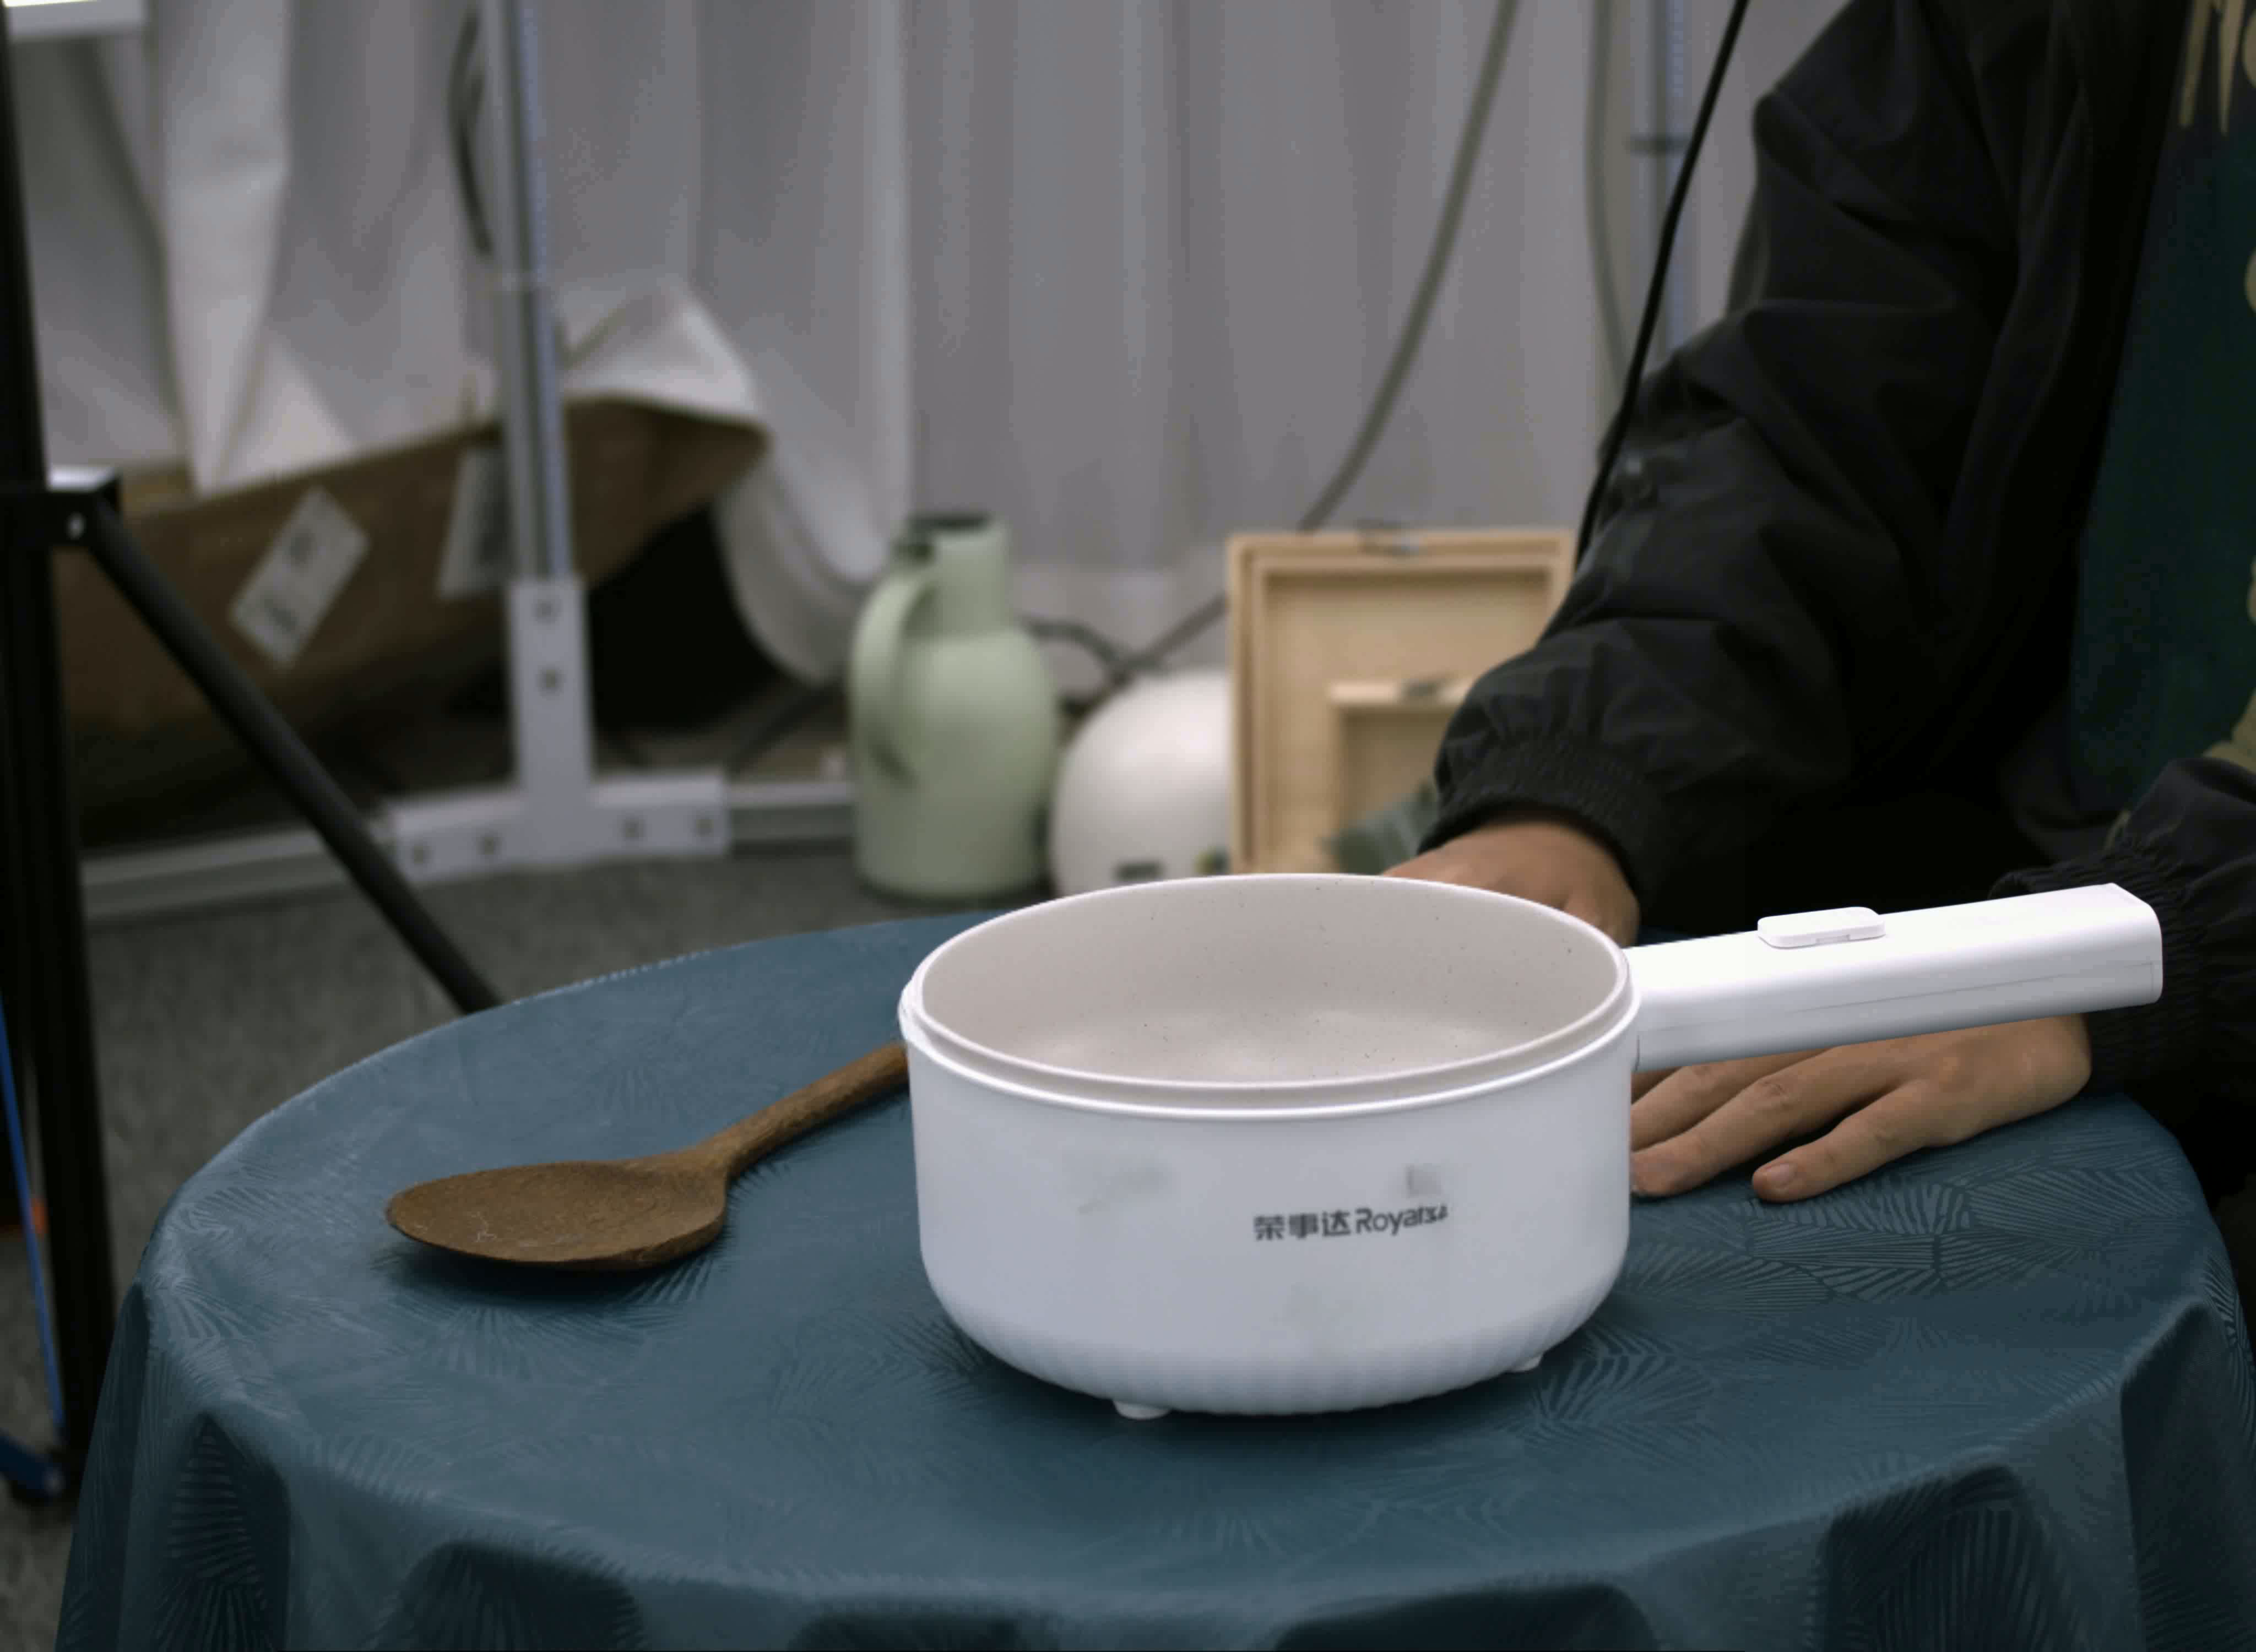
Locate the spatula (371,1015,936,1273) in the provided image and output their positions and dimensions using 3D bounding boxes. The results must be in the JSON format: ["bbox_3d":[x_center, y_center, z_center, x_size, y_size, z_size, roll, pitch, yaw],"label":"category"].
[{"bbox_3d":[-0.082,0.077,1.653,0.098,0.016,0.378,9,19,33],"label":"spatula"}]

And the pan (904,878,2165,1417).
[{"bbox_3d":[0.114,0.083,1.454,0.350,0.102,0.204,-4,15,-12],"label":"pan"}]
